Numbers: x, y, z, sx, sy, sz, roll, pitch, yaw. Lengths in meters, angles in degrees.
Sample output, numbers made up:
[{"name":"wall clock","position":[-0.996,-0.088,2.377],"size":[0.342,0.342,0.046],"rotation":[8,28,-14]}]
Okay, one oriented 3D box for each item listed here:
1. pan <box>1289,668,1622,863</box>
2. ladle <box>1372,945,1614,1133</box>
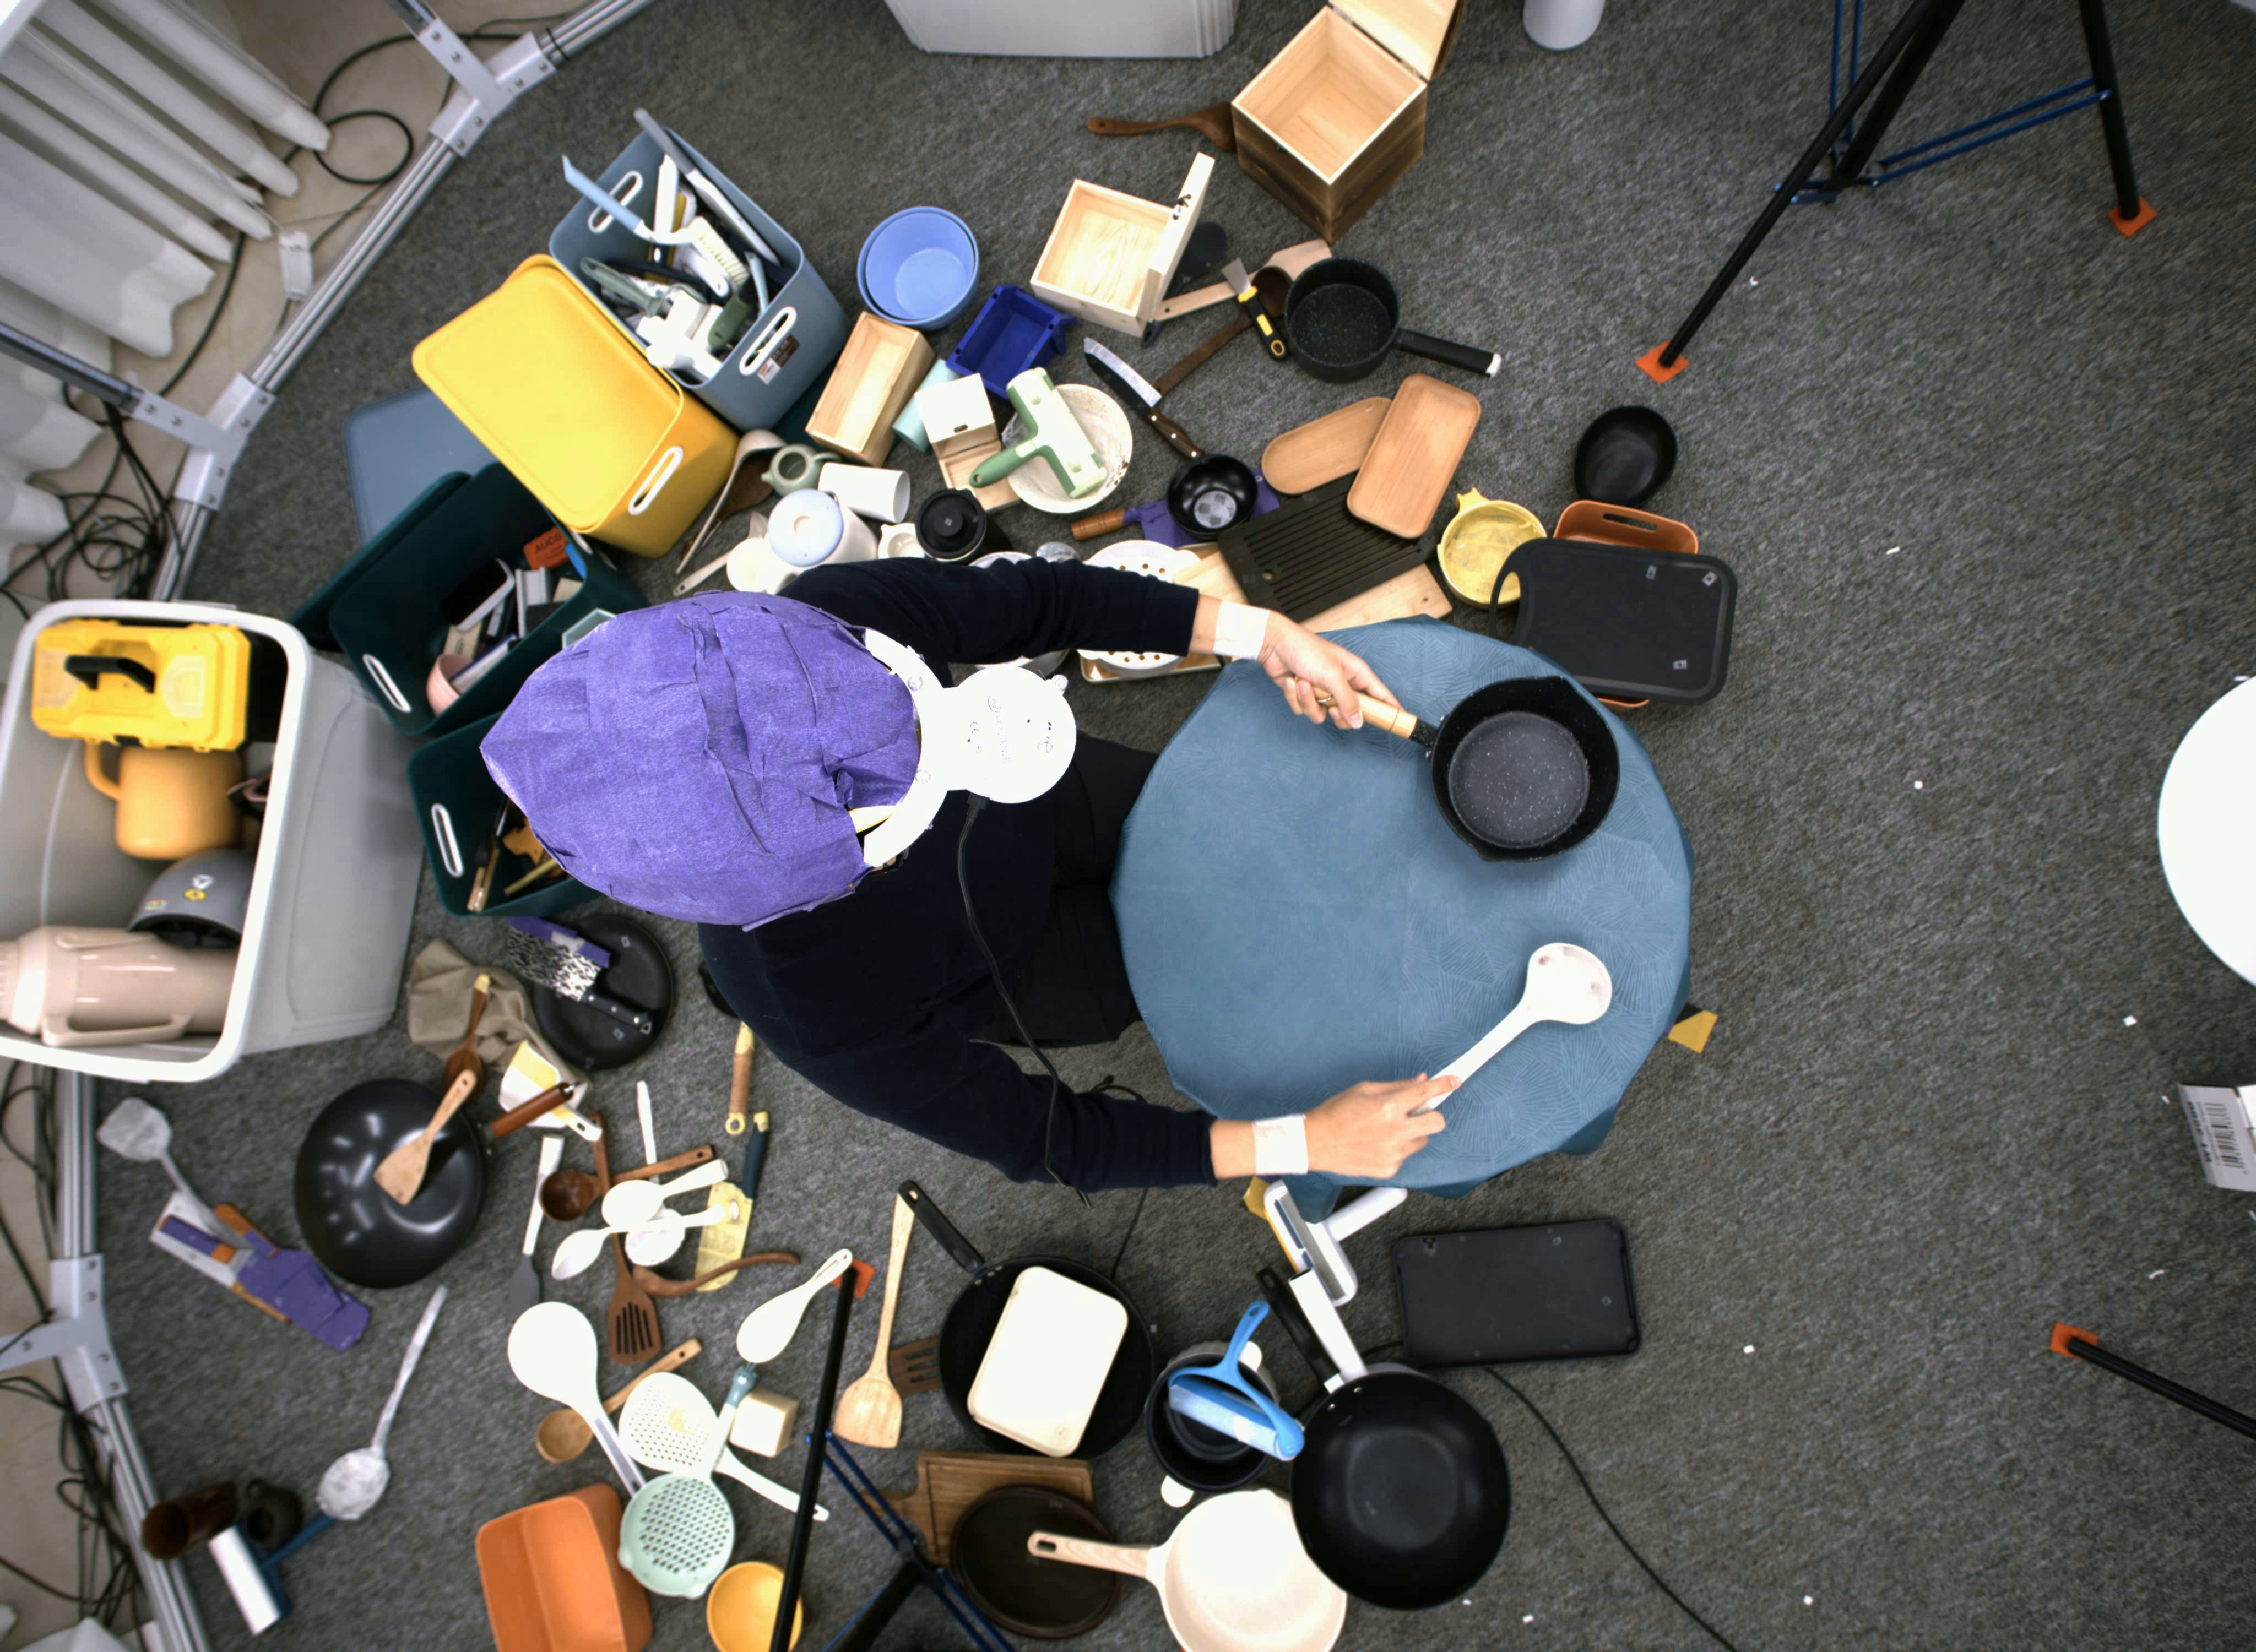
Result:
[{"name":"pan","position":[0.327,-0.084,1.404],"size":[0.343,0.108,0.207],"rotation":[20,91,11]},{"name":"ladle","position":[0.357,0.215,1.352],"size":[0.272,0.070,0.089],"rotation":[-34,93,-13]}]
